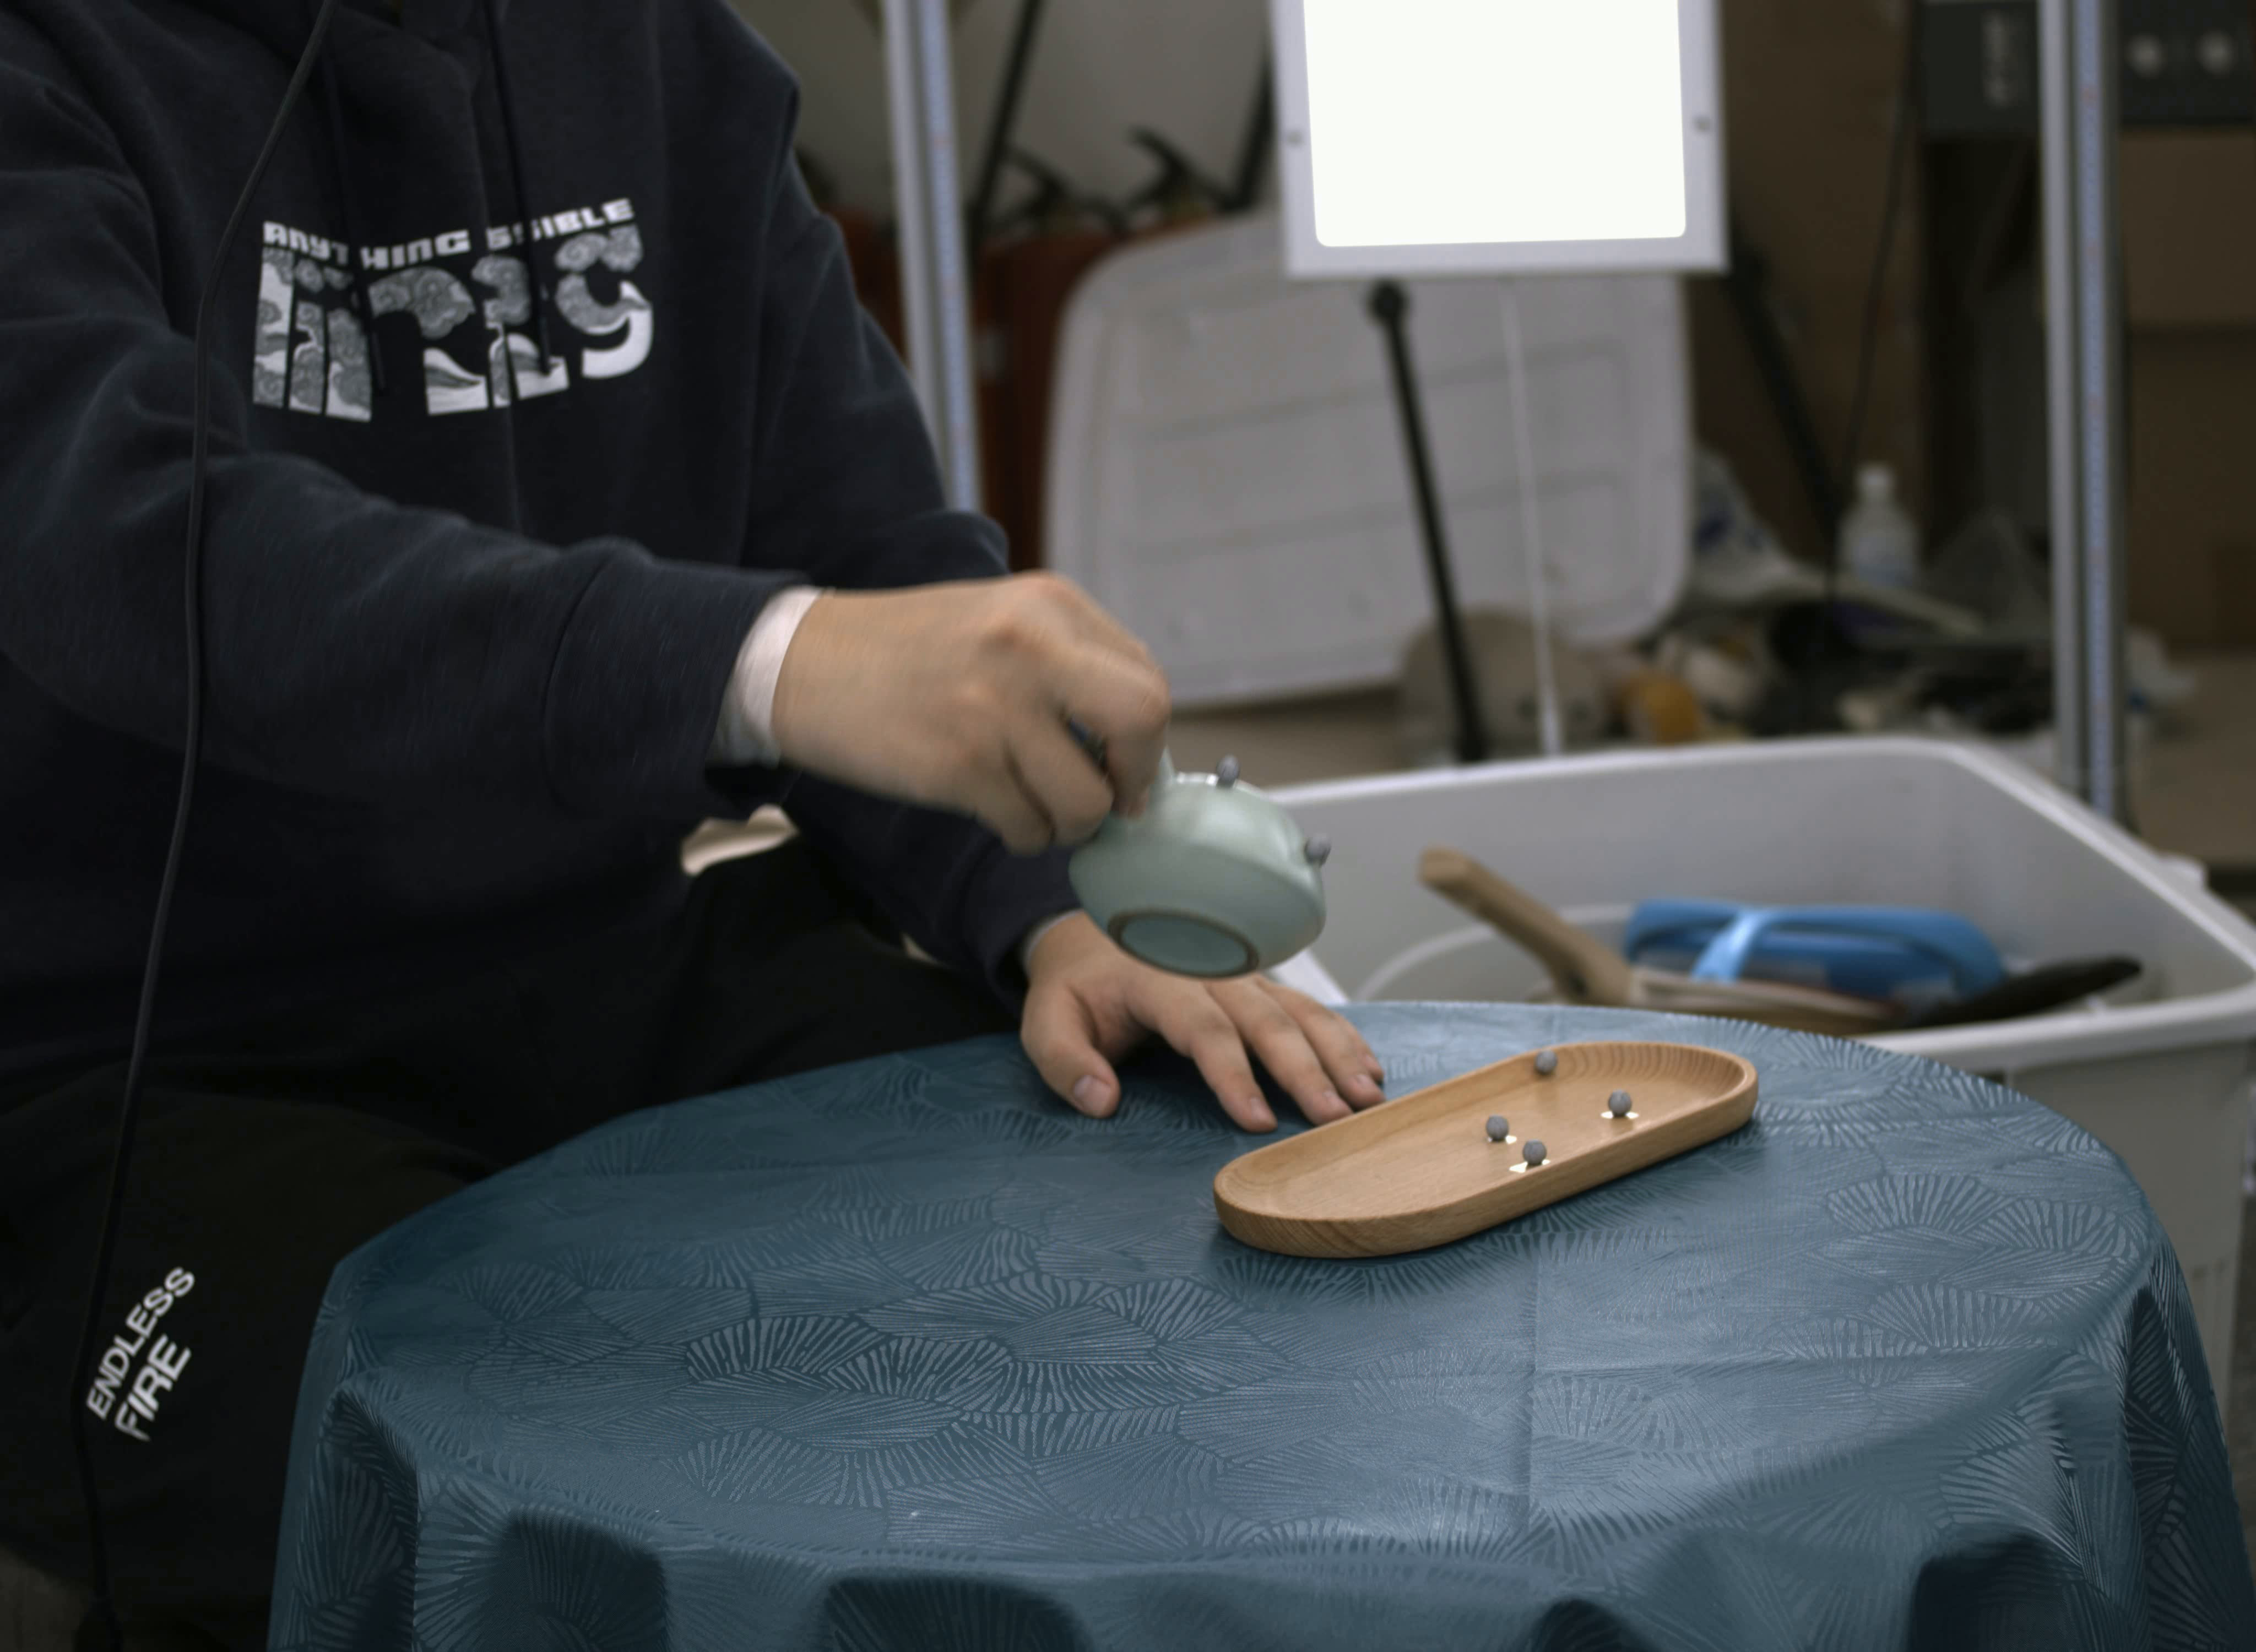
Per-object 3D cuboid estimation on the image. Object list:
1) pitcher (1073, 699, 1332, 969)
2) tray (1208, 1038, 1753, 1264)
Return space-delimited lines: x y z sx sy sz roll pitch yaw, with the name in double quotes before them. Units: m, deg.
"pitcher" 0.019 0.005 1.783 0.088 0.060 0.106 -8 -33 38
"tray" 0.124 0.110 1.889 0.225 0.020 0.104 -20 18 -40
